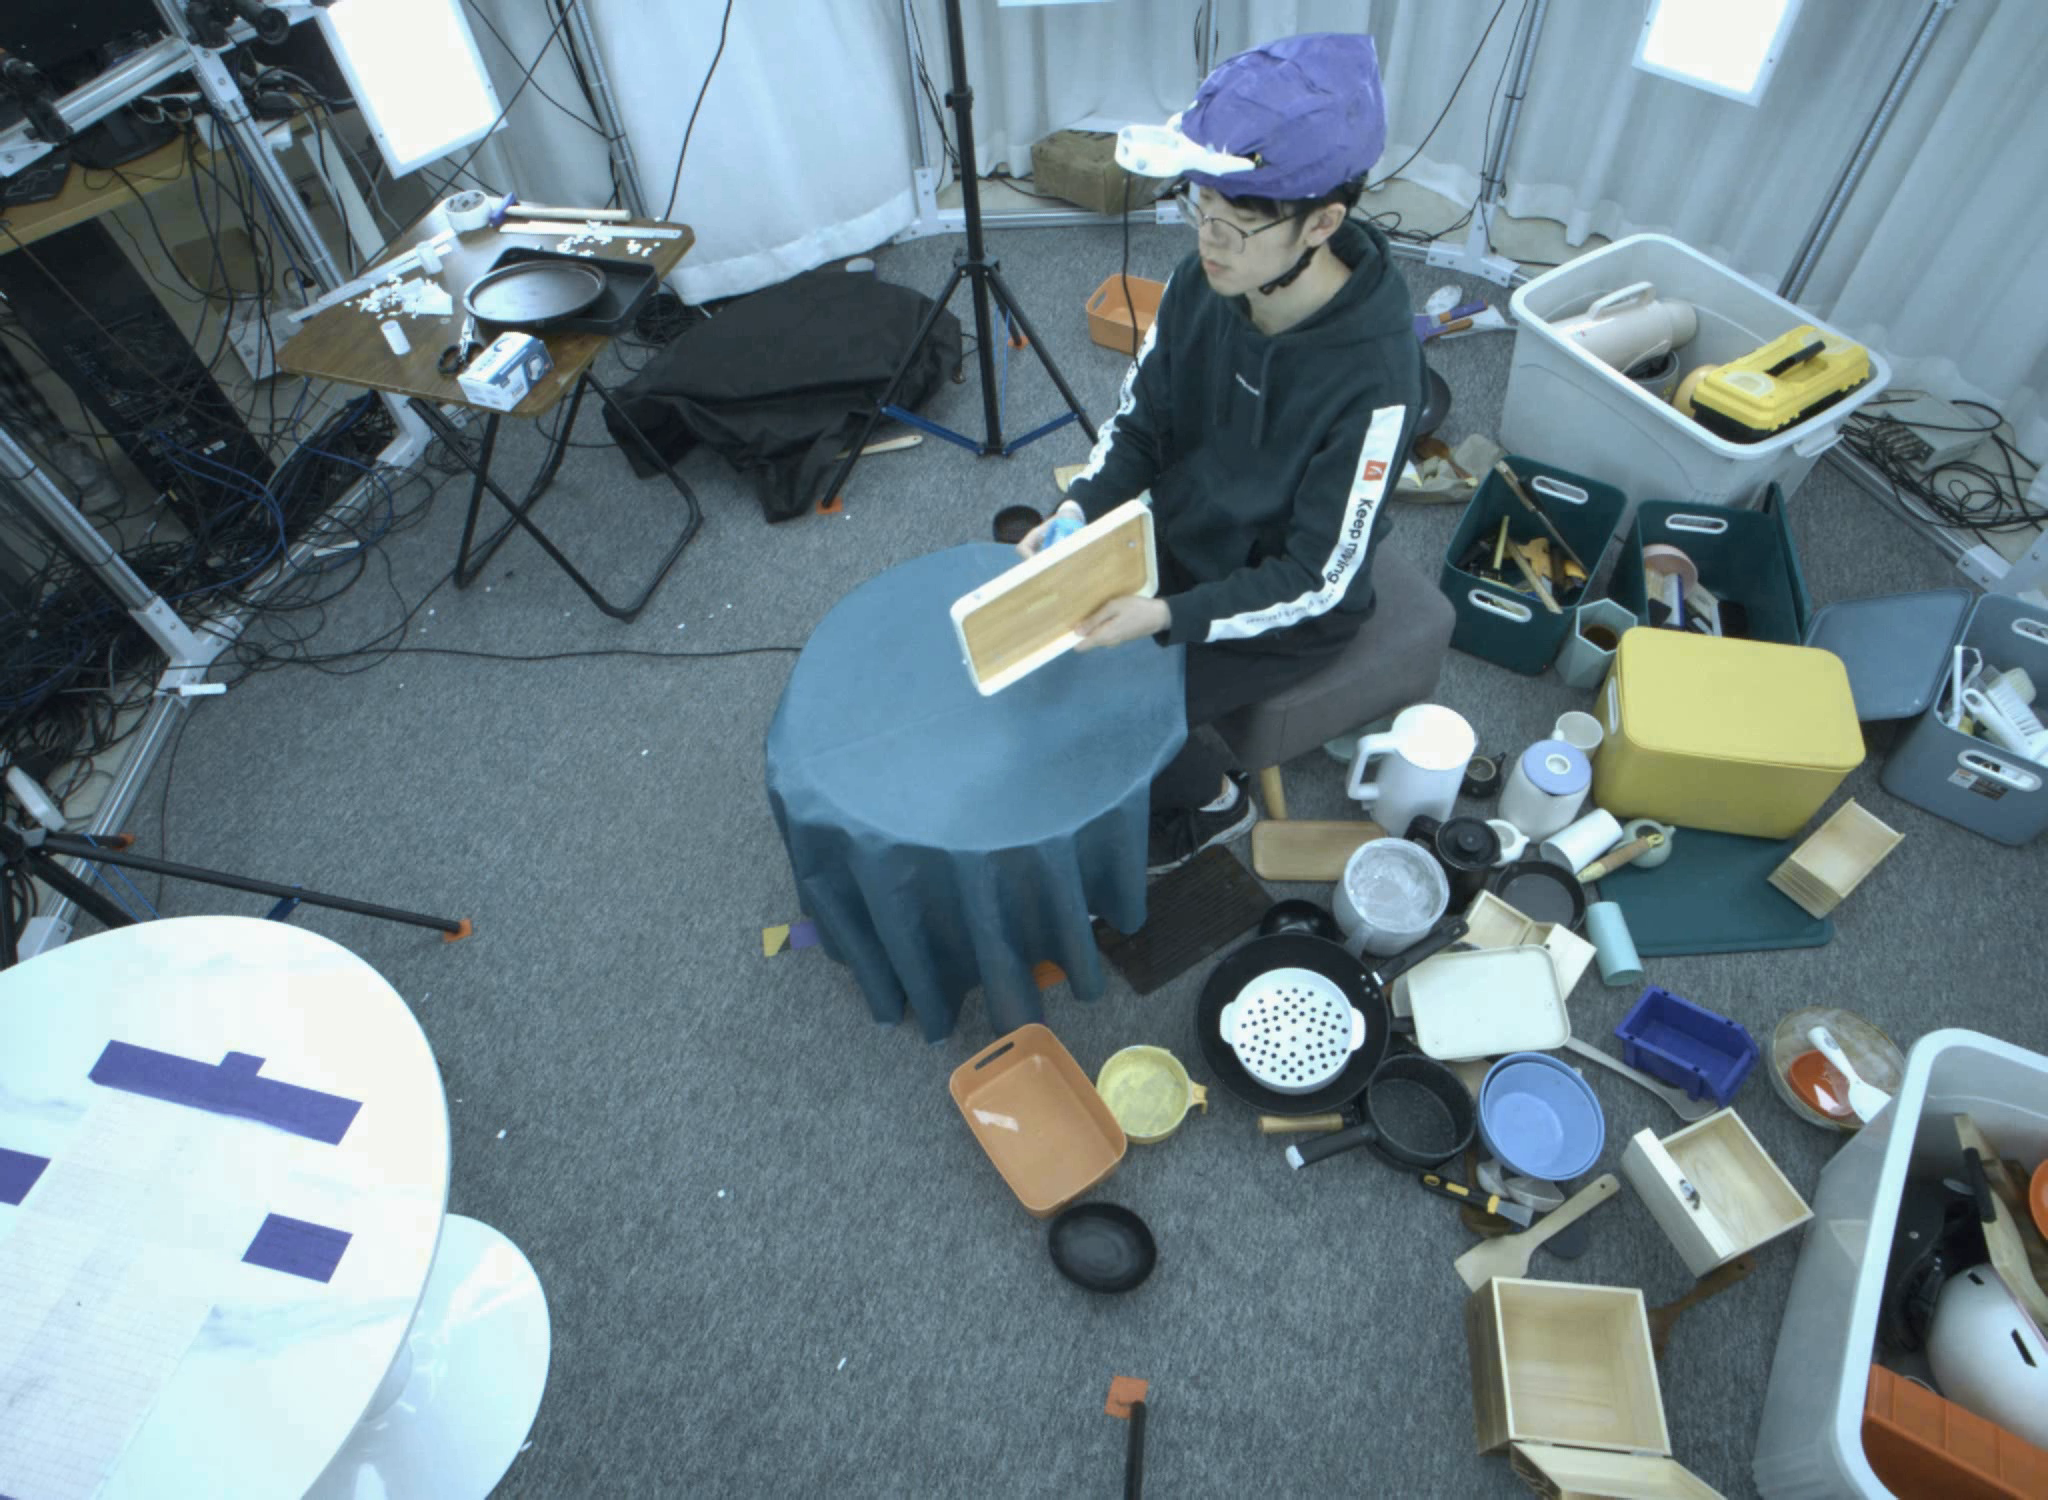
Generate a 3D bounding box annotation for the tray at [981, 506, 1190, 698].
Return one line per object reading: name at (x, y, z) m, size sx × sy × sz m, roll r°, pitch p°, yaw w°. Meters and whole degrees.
tray at (0.089, -0.196, 1.645) m, size 0.302 × 0.194 × 0.027 m, roll -30°, pitch 59°, yaw -10°

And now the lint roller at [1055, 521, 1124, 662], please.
lint roller at (0.089, -0.245, 1.730) m, size 0.068 × 0.229 × 0.179 m, roll 18°, pitch 38°, yaw -3°
